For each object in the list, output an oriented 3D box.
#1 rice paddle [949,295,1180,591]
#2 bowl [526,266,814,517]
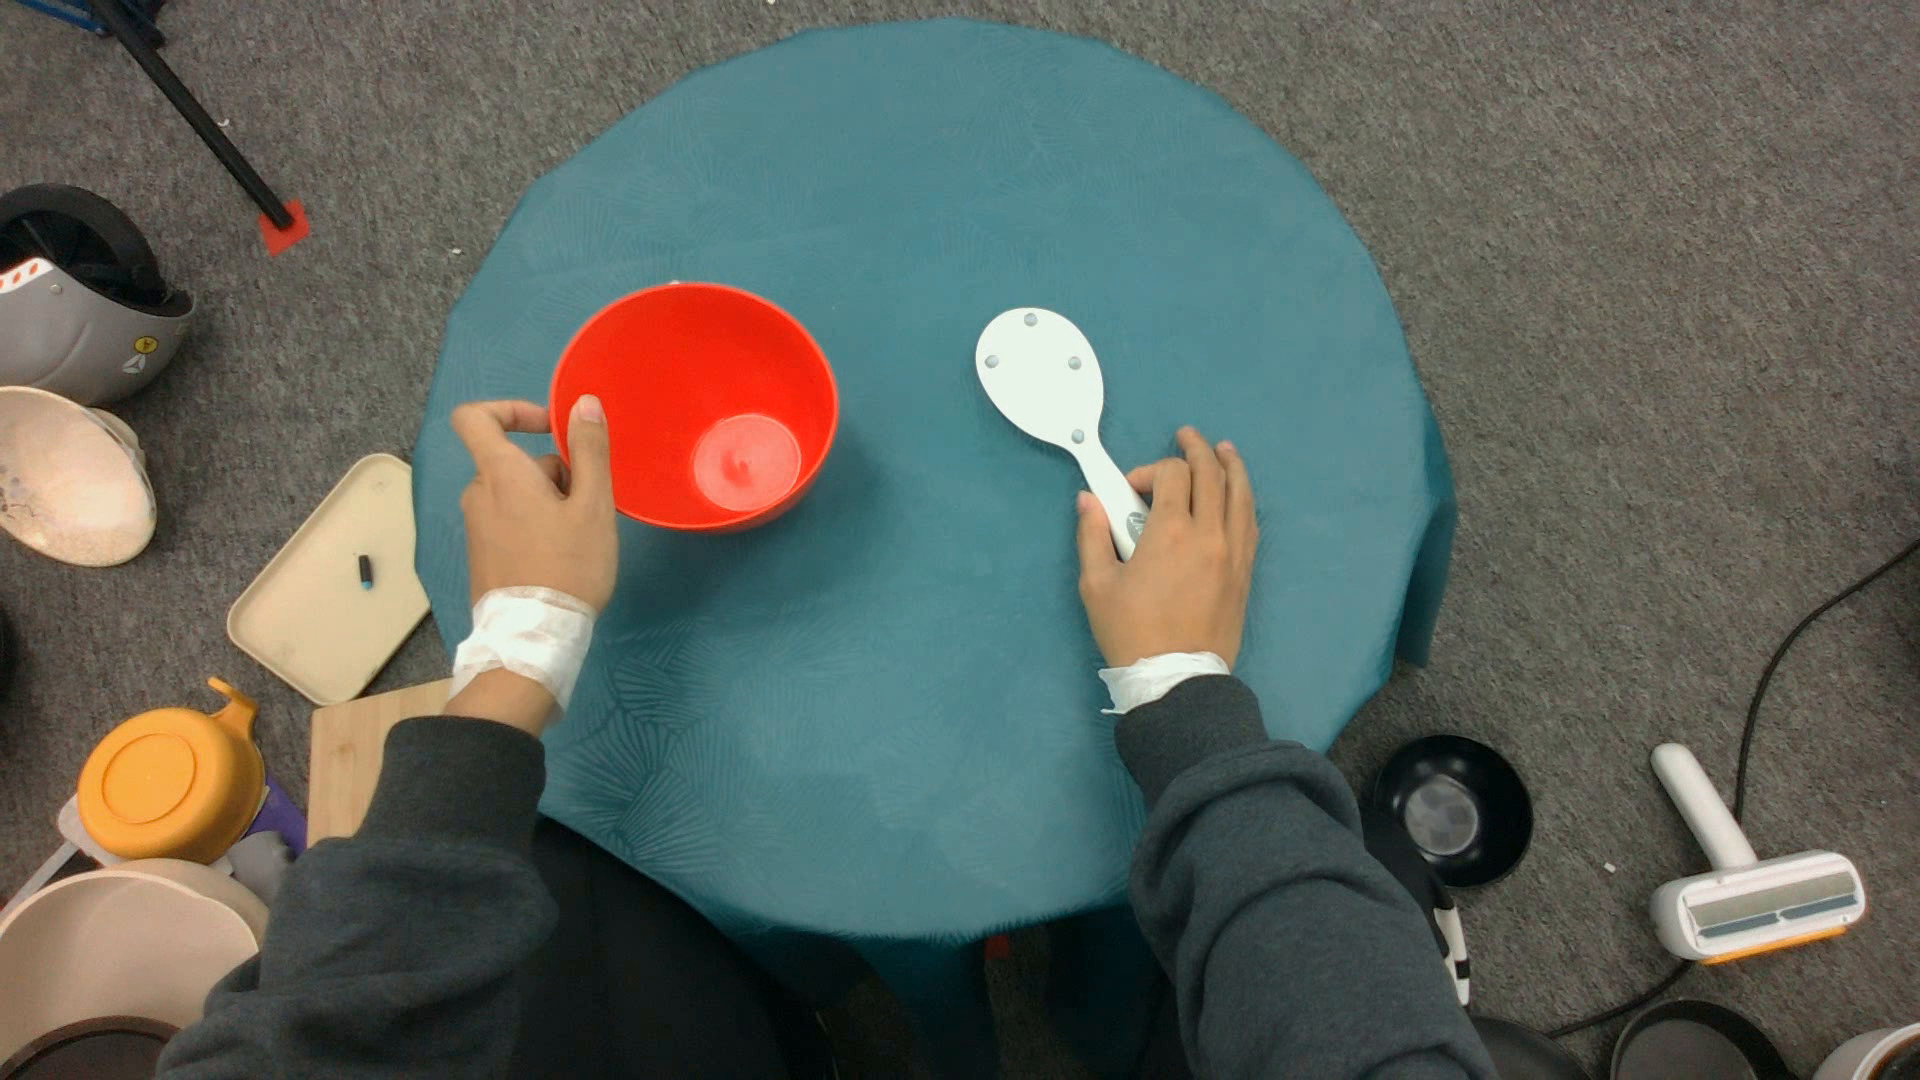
[{"bbox_3d":[0.059,-0.063,0.796,0.069,0.029,0.205,-27,71,-10],"label":"rice paddle"},{"bbox_3d":[-0.152,-0.069,0.767,0.148,0.104,0.148,0,69,0],"label":"bowl"}]
